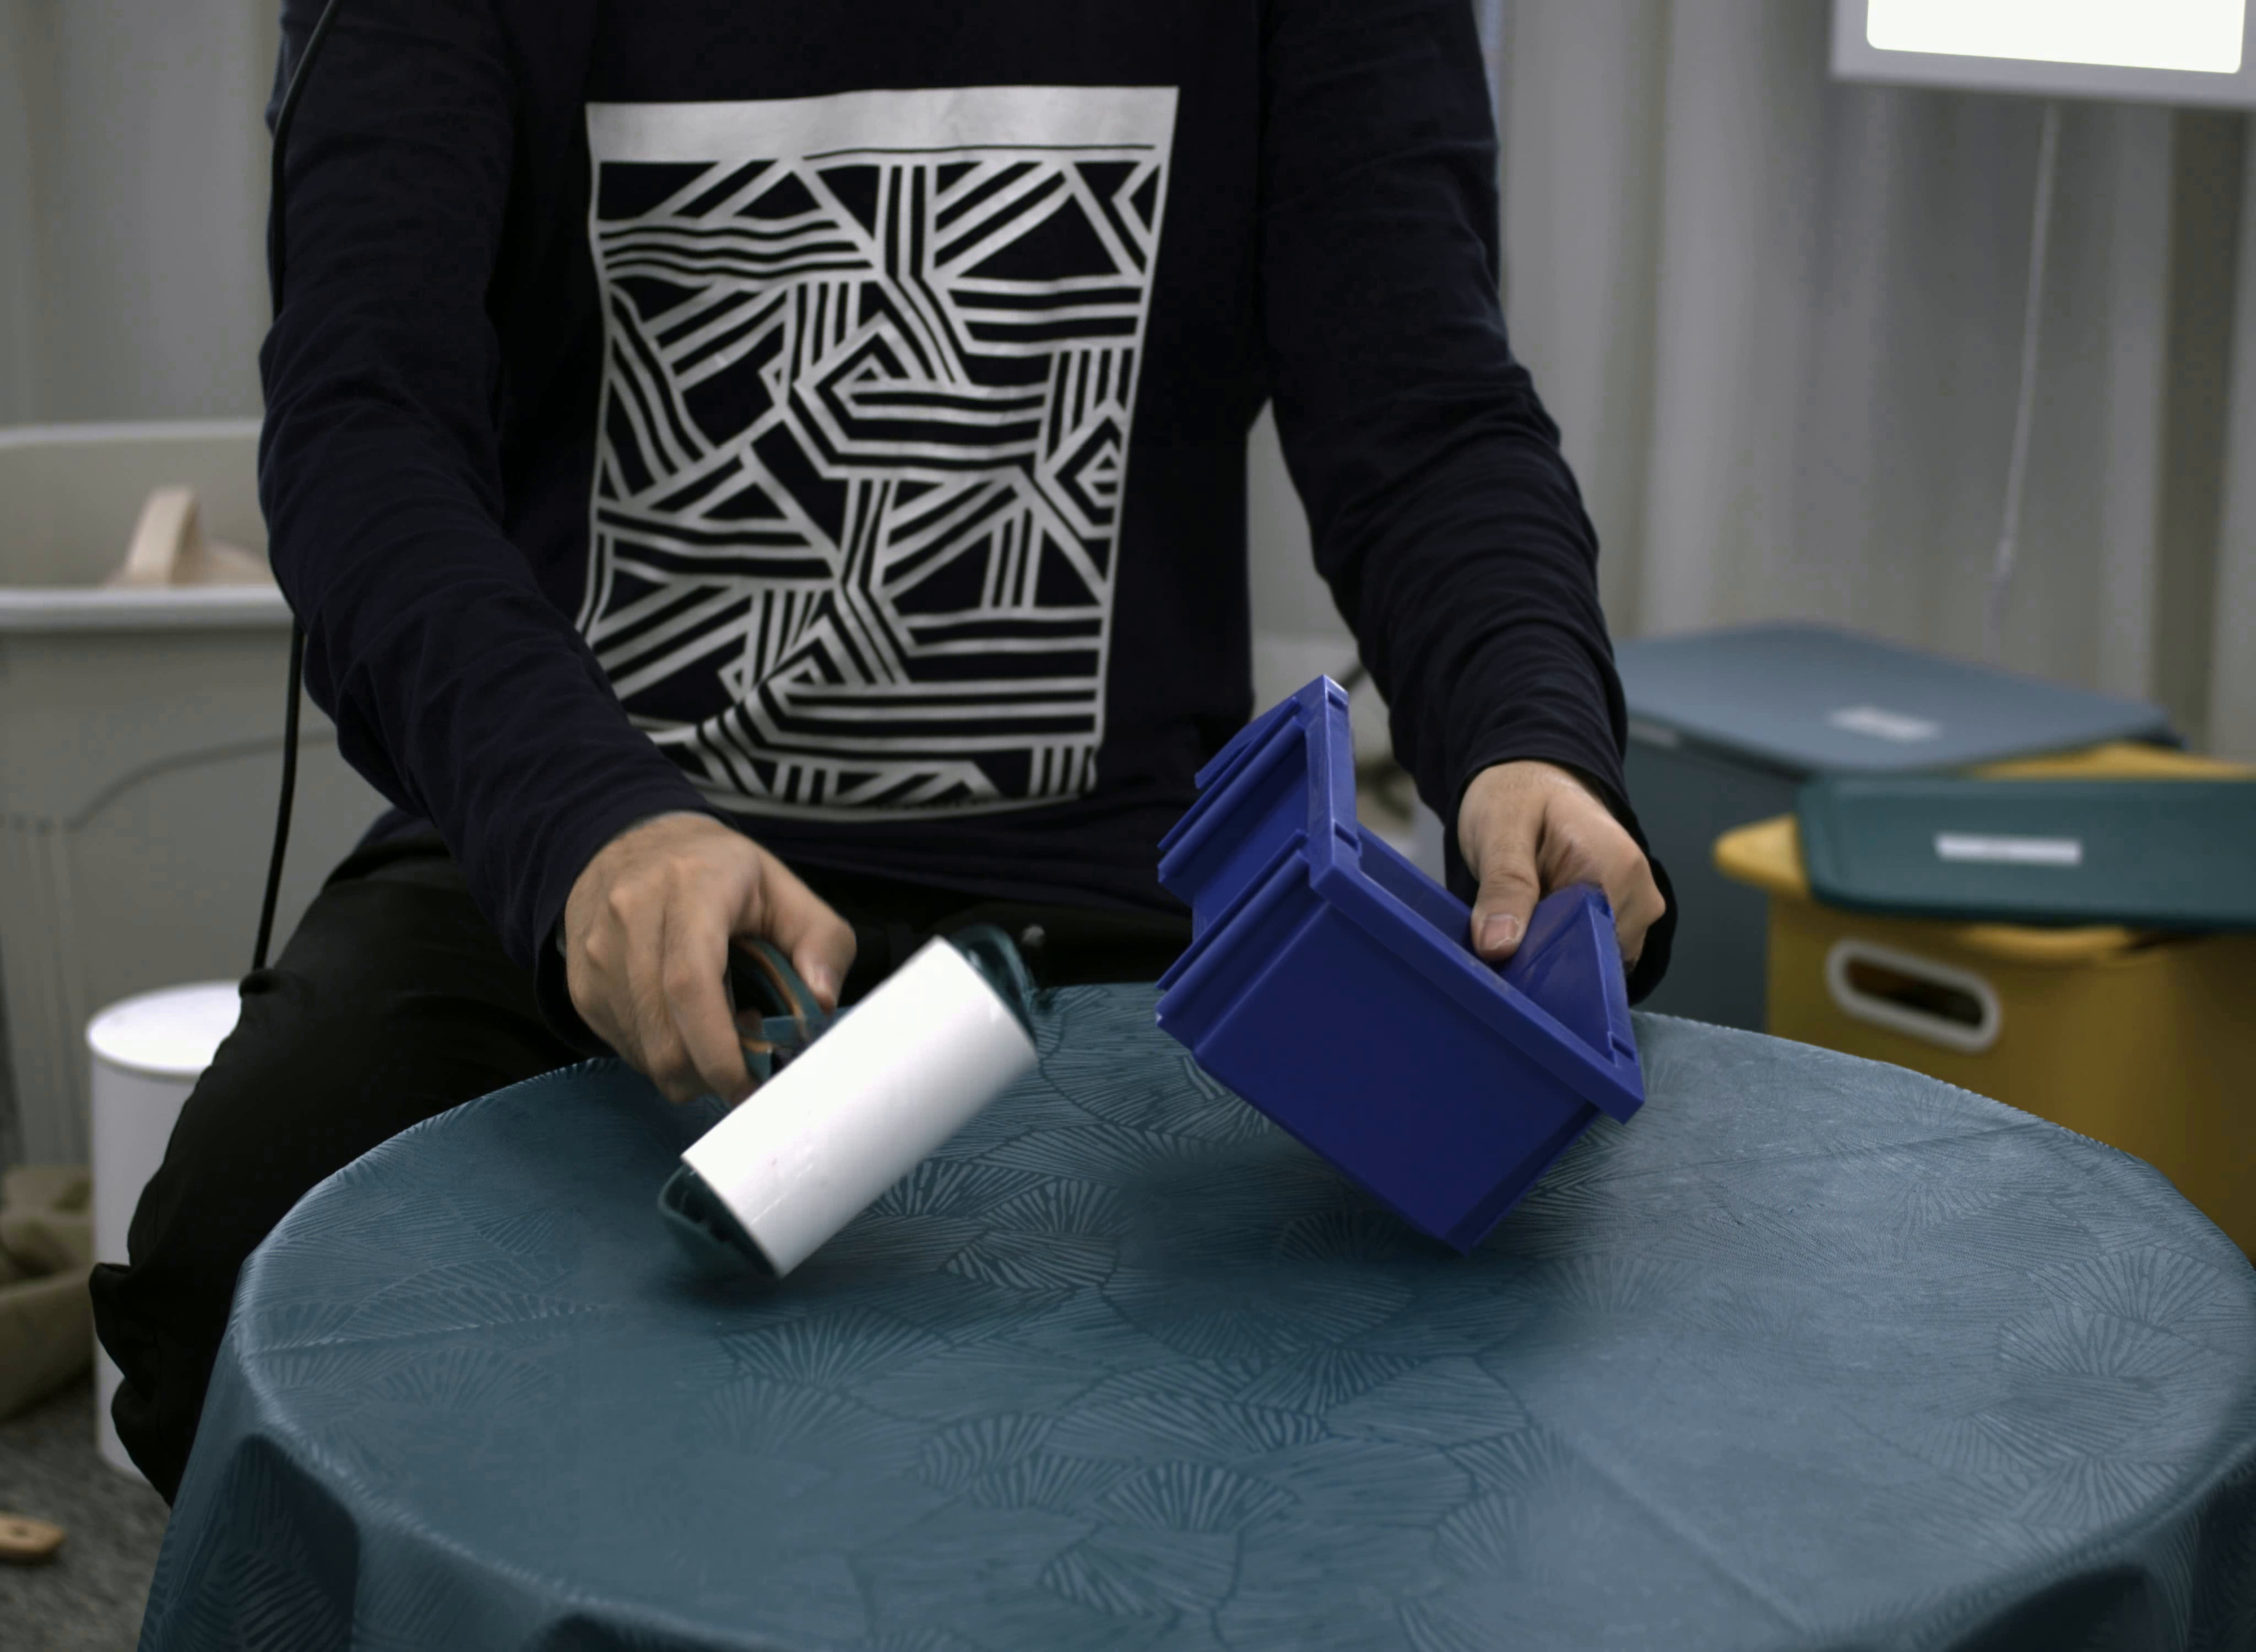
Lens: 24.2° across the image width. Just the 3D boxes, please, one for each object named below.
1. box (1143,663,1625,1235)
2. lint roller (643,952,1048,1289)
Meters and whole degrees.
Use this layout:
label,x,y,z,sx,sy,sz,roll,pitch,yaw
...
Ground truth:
label,x,y,z,sx,sy,sz,roll,pitch,yaw
box,0.078,0.032,1.612,0.125,0.082,0.178,37,22,-12
lint roller,-0.108,0.065,1.593,0.134,0.049,0.178,-37,32,-10
